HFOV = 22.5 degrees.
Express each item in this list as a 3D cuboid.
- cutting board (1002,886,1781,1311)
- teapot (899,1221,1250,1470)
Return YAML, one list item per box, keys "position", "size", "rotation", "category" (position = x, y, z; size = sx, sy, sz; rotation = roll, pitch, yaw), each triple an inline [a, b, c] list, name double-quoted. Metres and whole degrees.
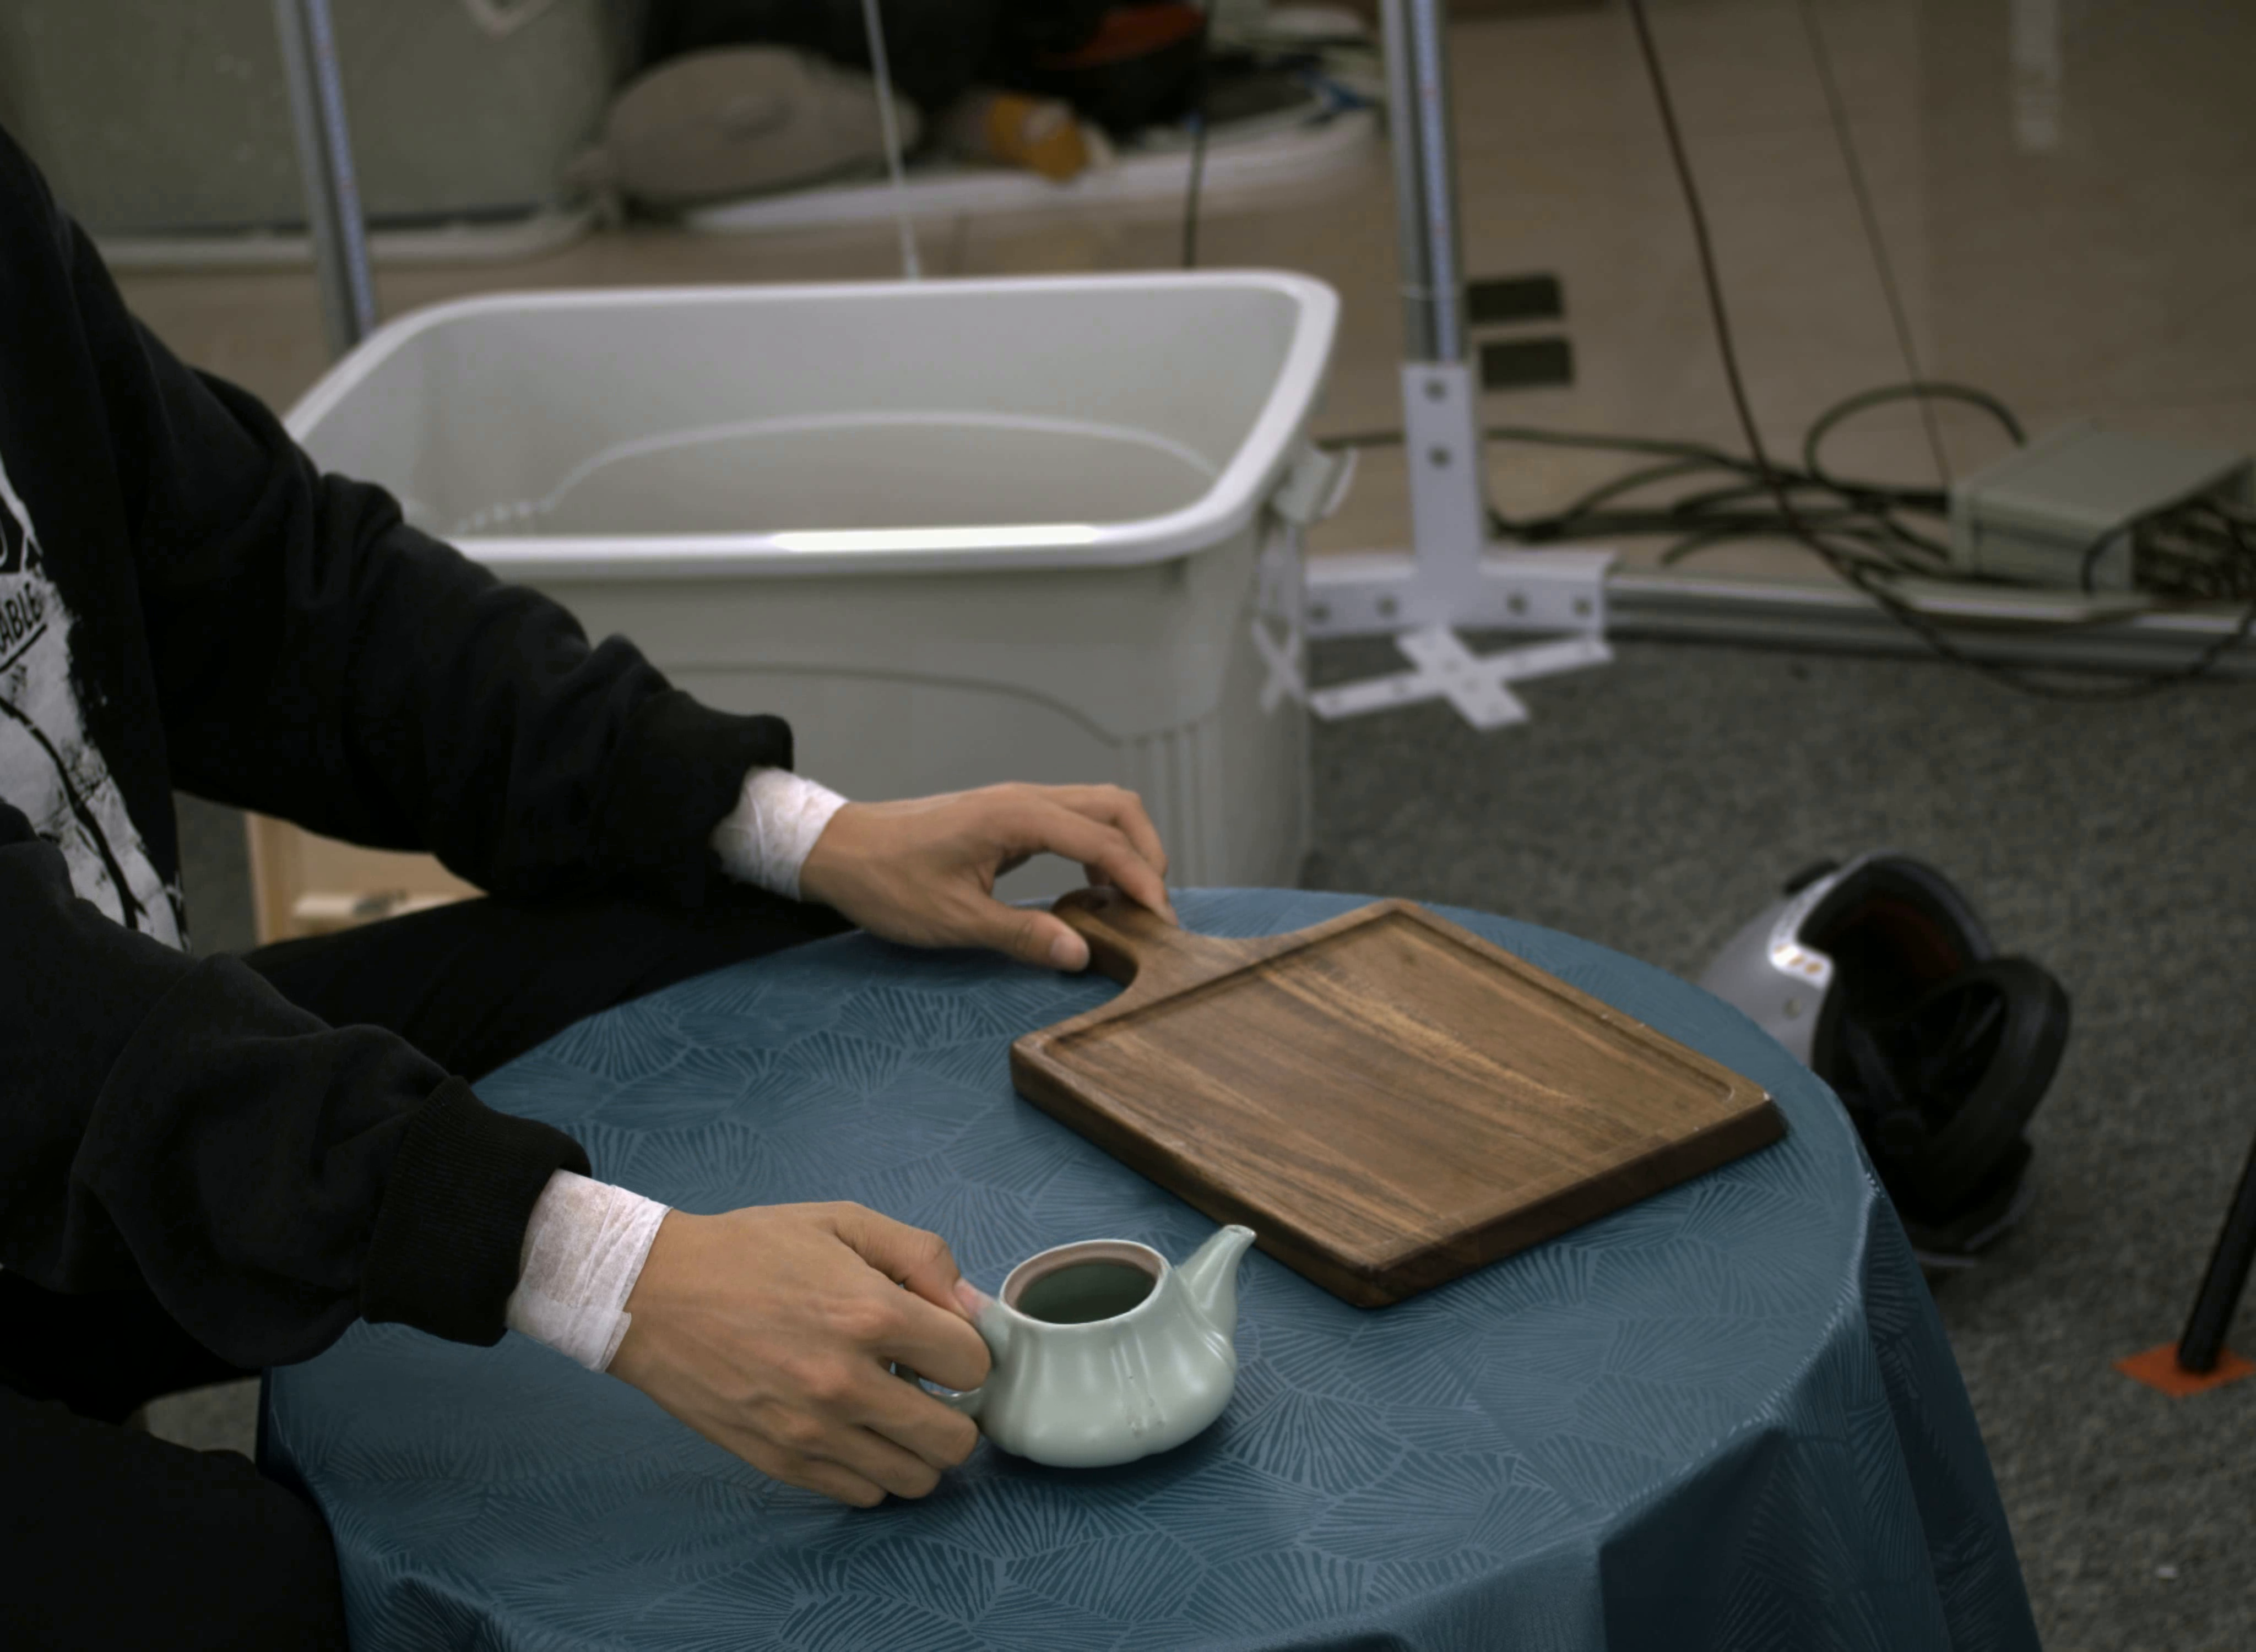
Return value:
- position: [0.071, 0.087, 2.218]
  size: [0.200, 0.023, 0.348]
  rotation: [-21, 29, -28]
  category: "cutting board"
- position: [-0.016, 0.184, 1.984]
  size: [0.136, 0.062, 0.095]
  rotation: [-16, 27, -19]
  category: "teapot"
